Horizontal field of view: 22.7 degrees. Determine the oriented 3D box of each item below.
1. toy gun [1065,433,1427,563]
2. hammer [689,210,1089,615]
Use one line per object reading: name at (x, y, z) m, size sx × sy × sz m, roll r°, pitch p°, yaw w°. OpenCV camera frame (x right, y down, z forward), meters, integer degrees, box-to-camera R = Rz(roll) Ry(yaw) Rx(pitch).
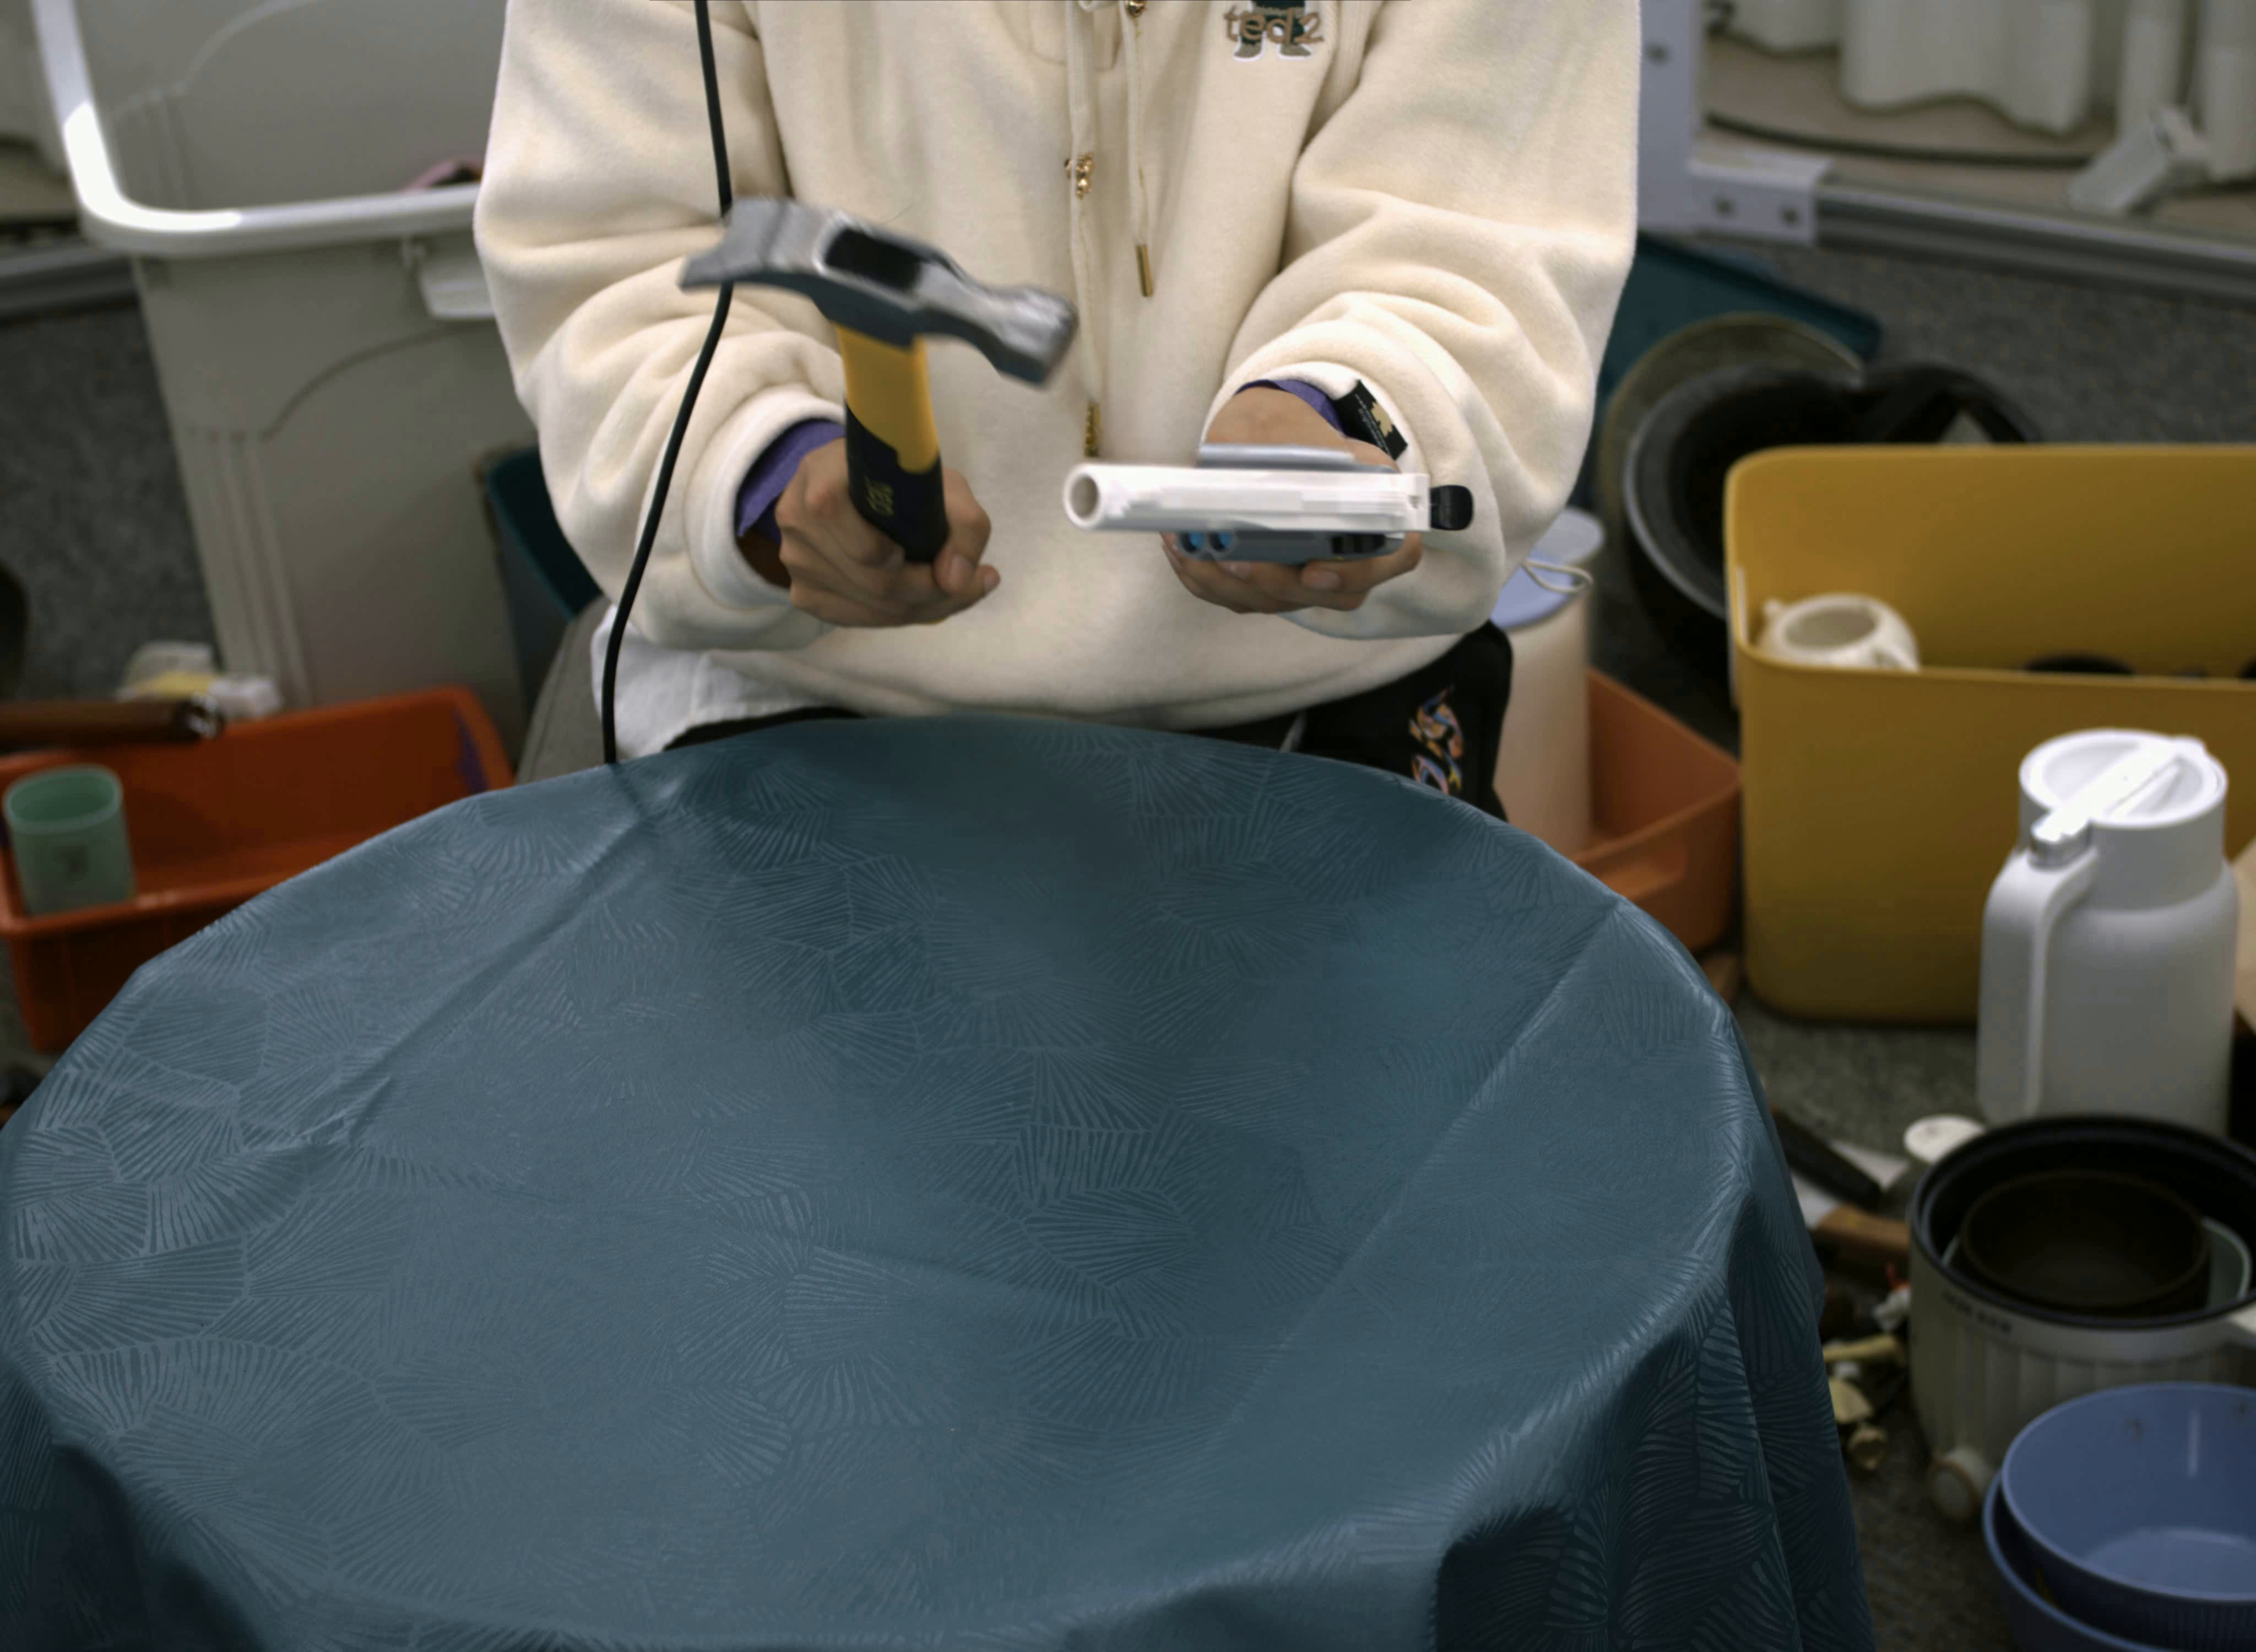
toy gun at (0.026, -0.107, 1.836) m, size 0.140 × 0.039 × 0.210 m, roll 3°, pitch 1°, yaw 44°
hammer at (-0.078, -0.135, 1.943) m, size 0.131 × 0.032 × 0.335 m, roll 20°, pitch -14°, yaw 5°
